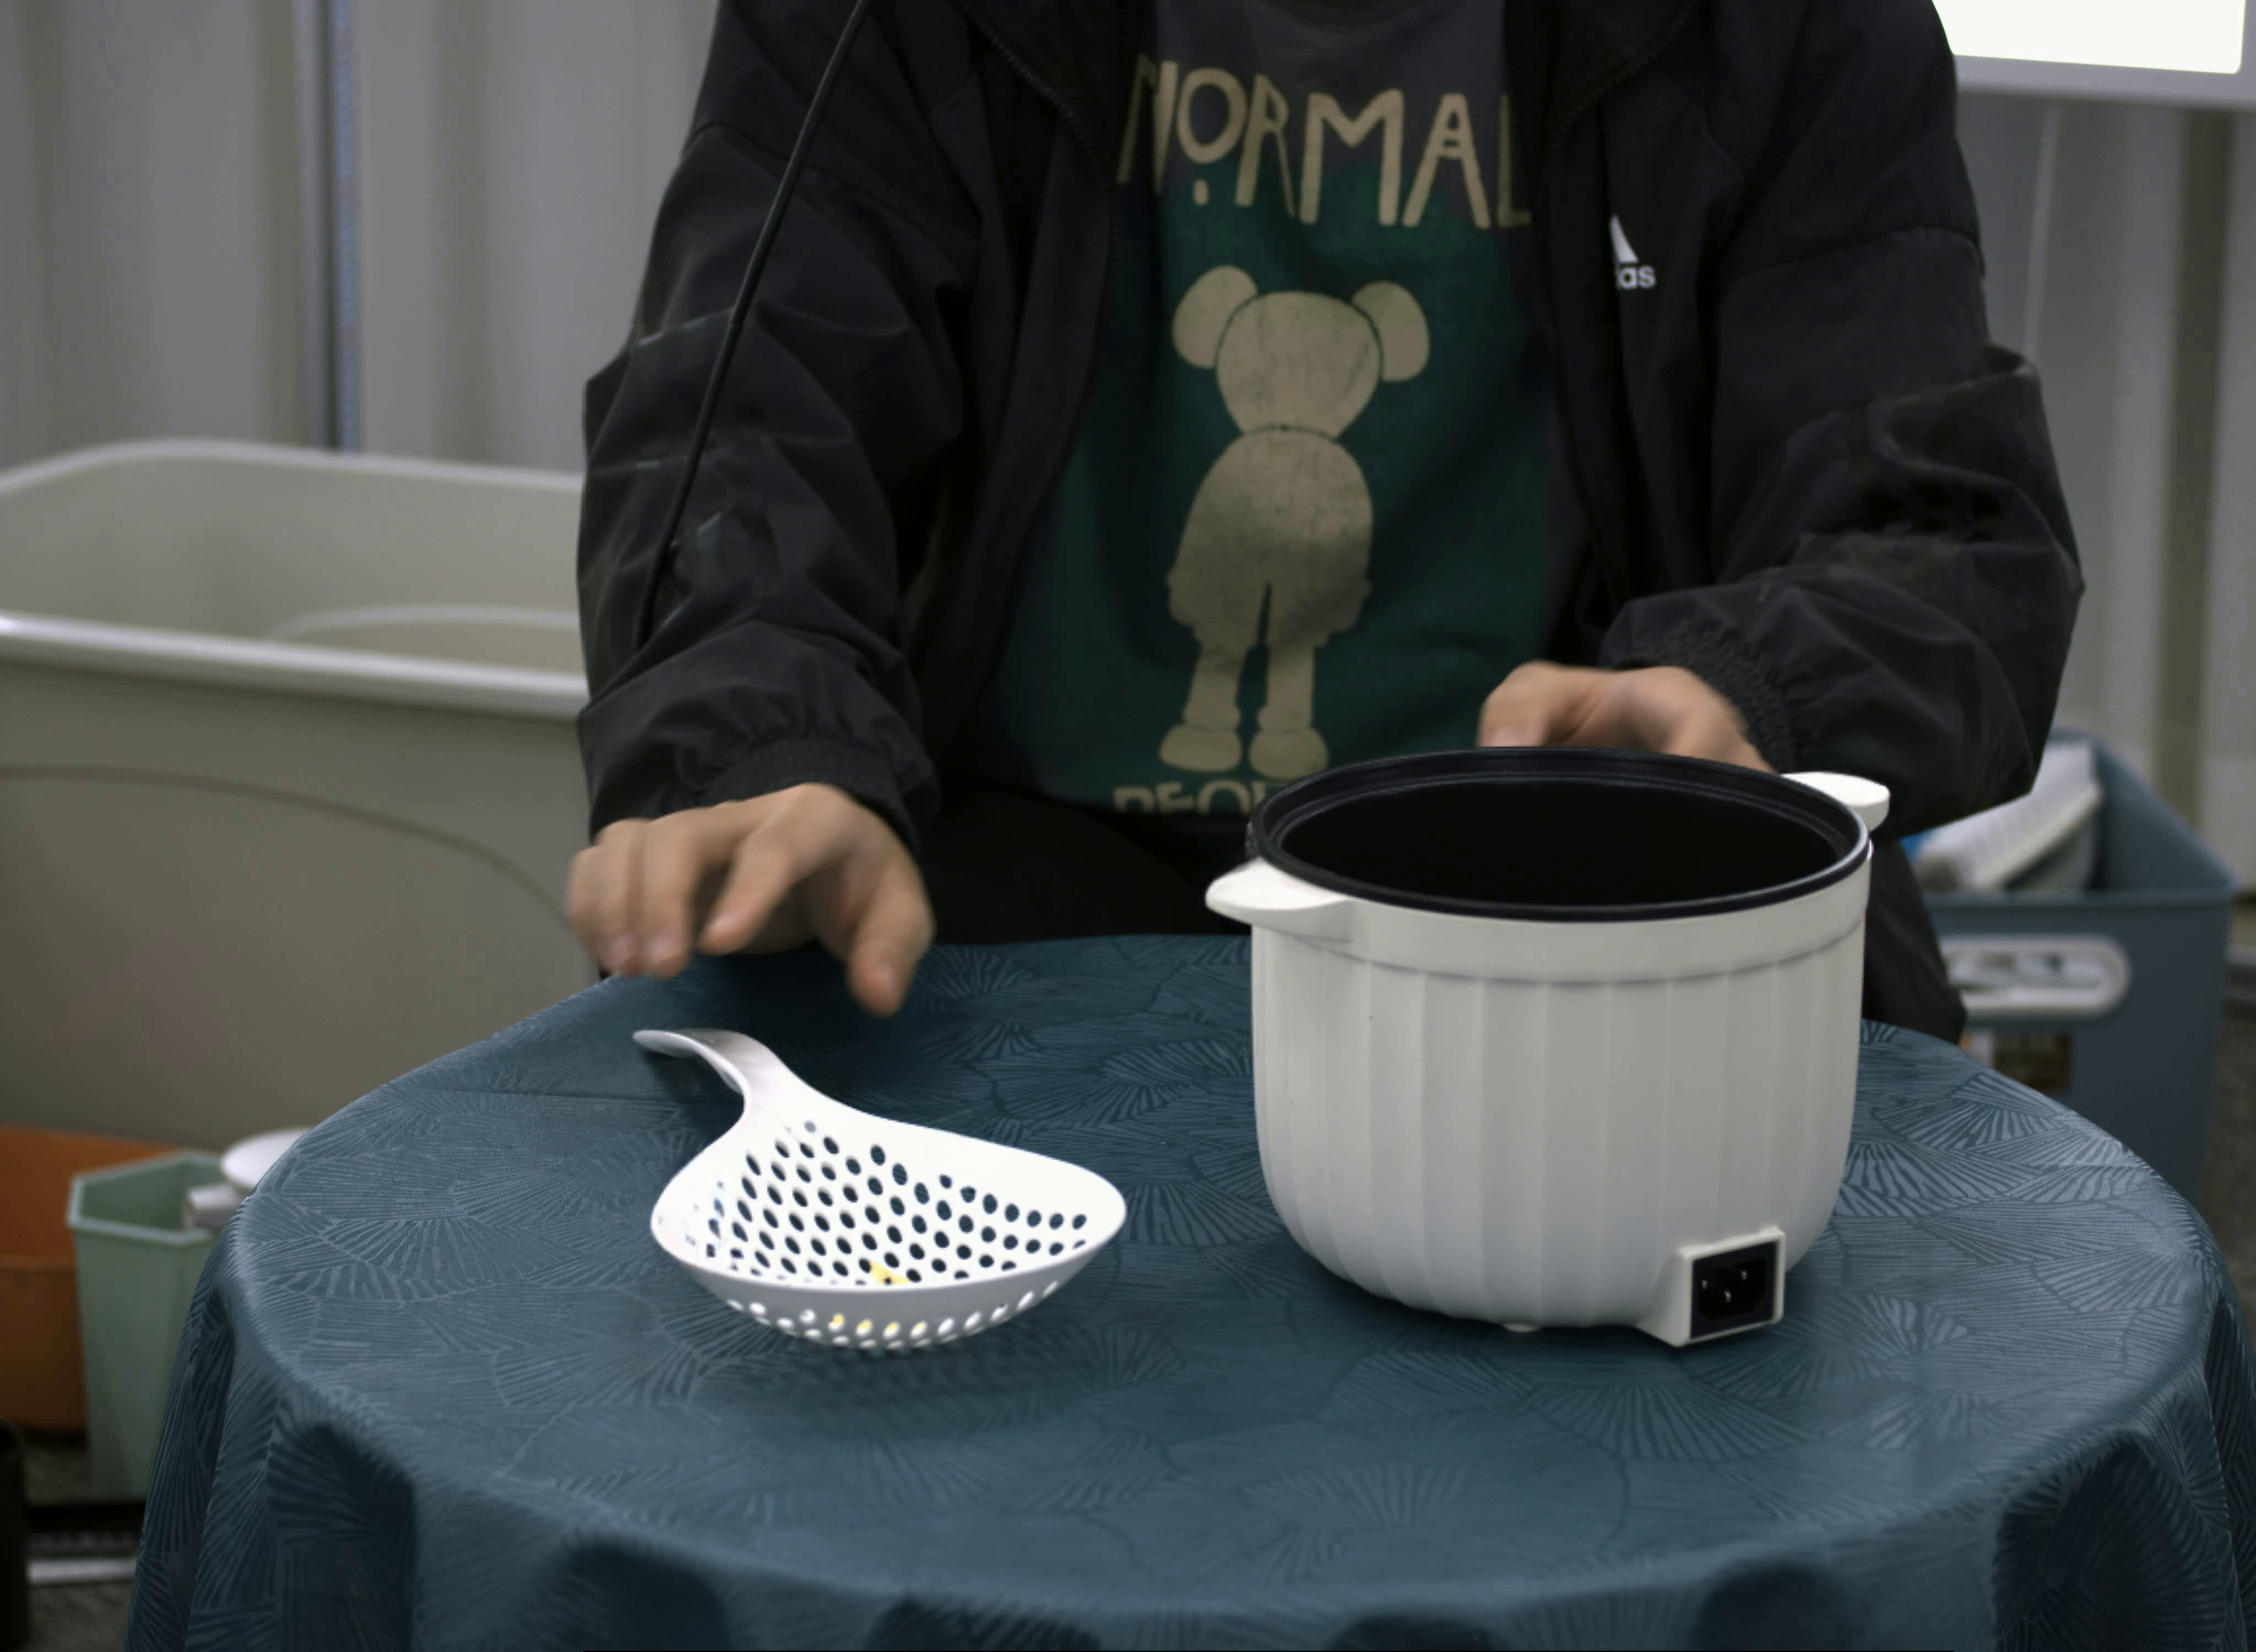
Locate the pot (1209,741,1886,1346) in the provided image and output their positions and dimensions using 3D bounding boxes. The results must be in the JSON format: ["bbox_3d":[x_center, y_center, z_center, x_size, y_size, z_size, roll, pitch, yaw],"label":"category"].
[{"bbox_3d":[0.121,0.062,1.552,0.241,0.144,0.188,-8,21,-33],"label":"pot"}]

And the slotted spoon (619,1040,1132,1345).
[{"bbox_3d":[-0.102,0.097,1.598,0.137,0.051,0.344,-7,17,-18],"label":"slotted spoon"}]
